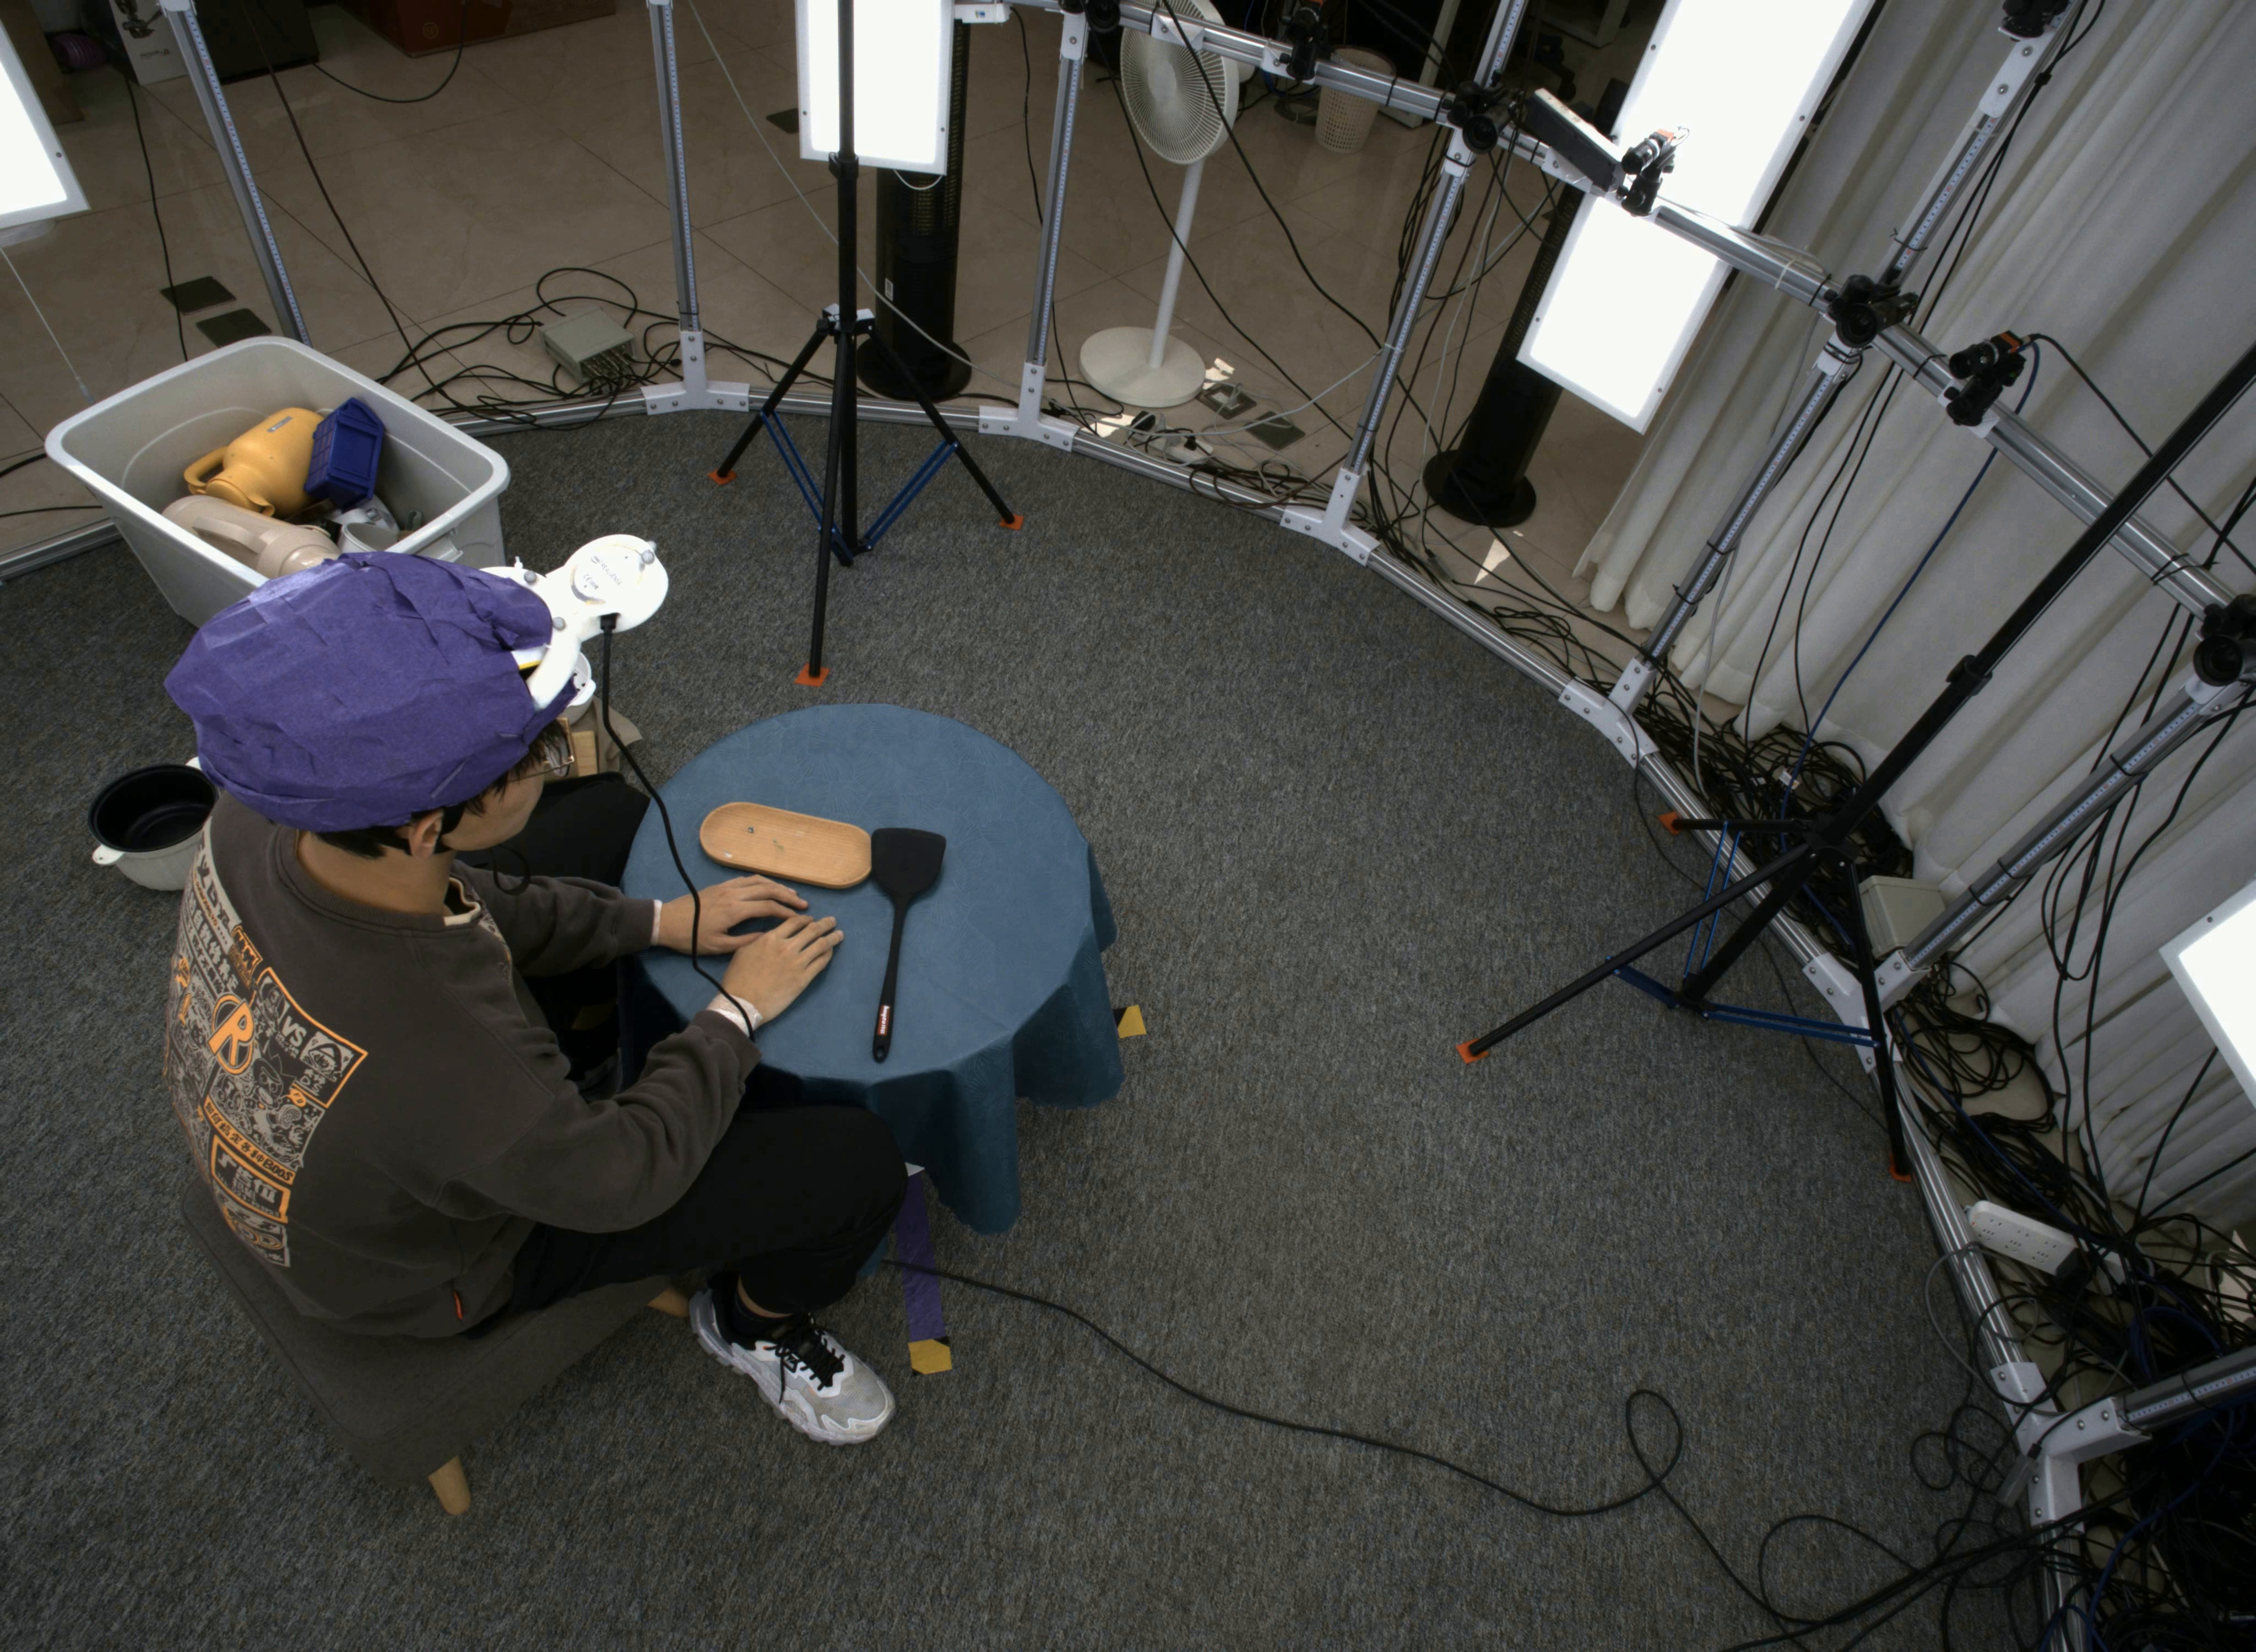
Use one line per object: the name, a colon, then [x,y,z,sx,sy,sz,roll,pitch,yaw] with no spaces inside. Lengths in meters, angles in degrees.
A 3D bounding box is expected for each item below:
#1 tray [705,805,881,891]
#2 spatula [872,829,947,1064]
tray: [-0.440,0.028,1.704,0.230,0.021,0.100,13,53,-6]
spatula: [-0.291,0.144,1.642,0.099,0.041,0.320,6,53,-7]
